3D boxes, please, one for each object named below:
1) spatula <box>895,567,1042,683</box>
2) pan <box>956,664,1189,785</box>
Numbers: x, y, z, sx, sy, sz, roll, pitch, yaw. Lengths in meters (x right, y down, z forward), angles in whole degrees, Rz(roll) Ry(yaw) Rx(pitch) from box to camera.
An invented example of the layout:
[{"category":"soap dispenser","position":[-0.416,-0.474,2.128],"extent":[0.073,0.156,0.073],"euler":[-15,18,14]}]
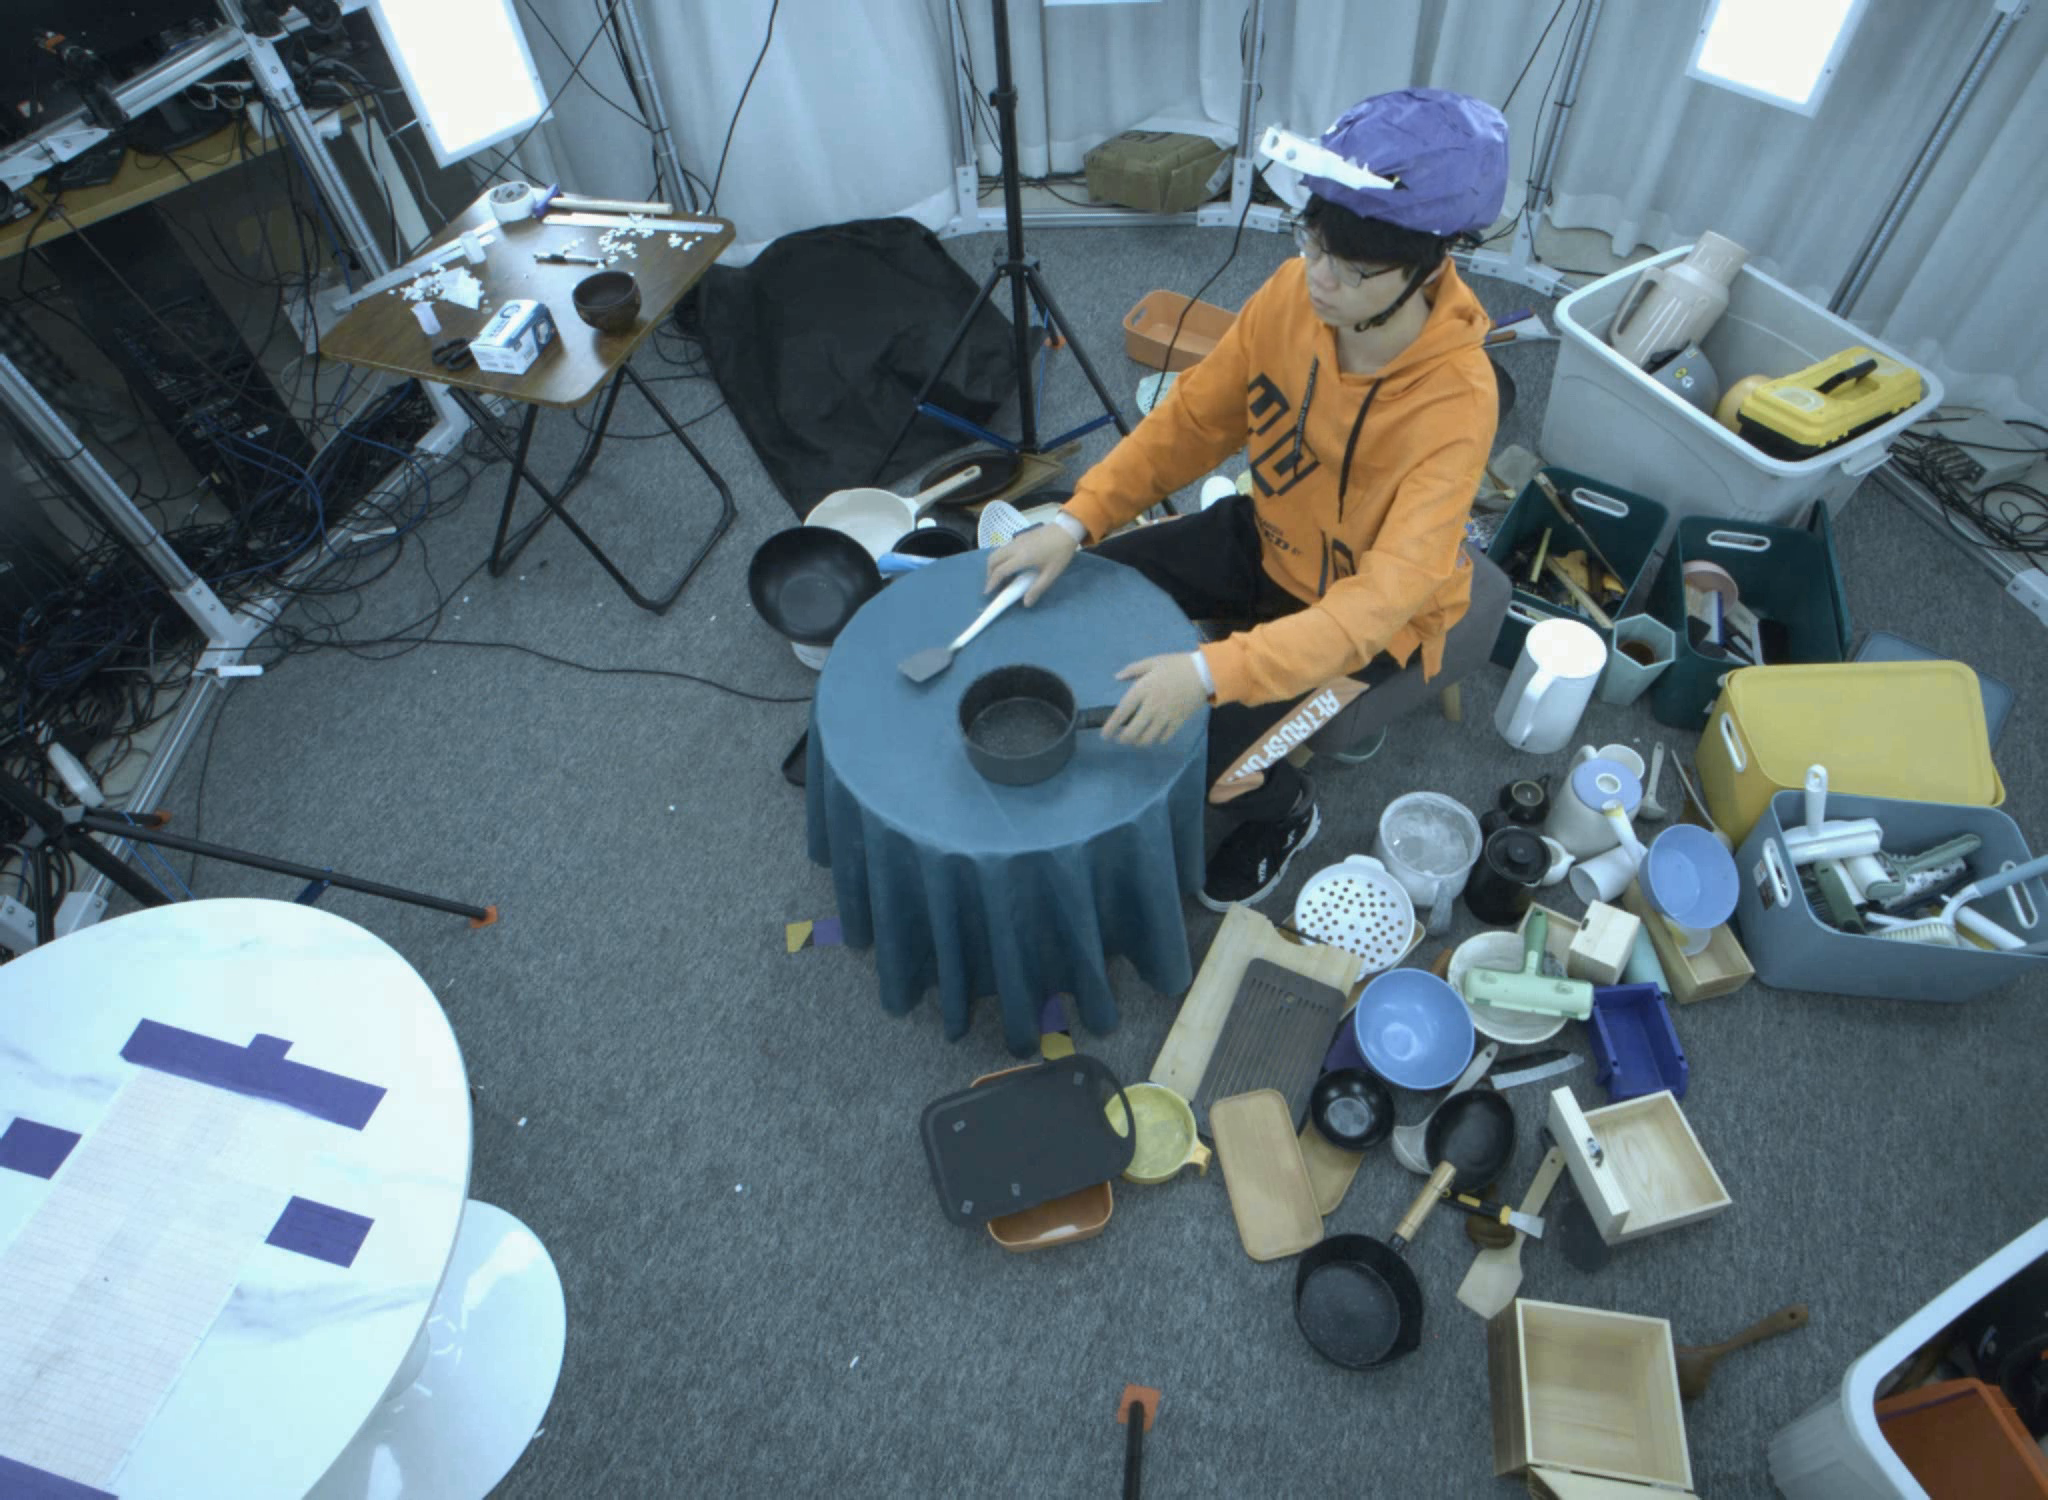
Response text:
[{"category":"spatula","position":[-0.081,-0.193,1.907],"extent":[0.058,0.032,0.289],"euler":[38,64,20]},{"category":"pan","position":[0.071,-0.035,1.757],"extent":[0.327,0.087,0.170],"euler":[1,56,5]}]
